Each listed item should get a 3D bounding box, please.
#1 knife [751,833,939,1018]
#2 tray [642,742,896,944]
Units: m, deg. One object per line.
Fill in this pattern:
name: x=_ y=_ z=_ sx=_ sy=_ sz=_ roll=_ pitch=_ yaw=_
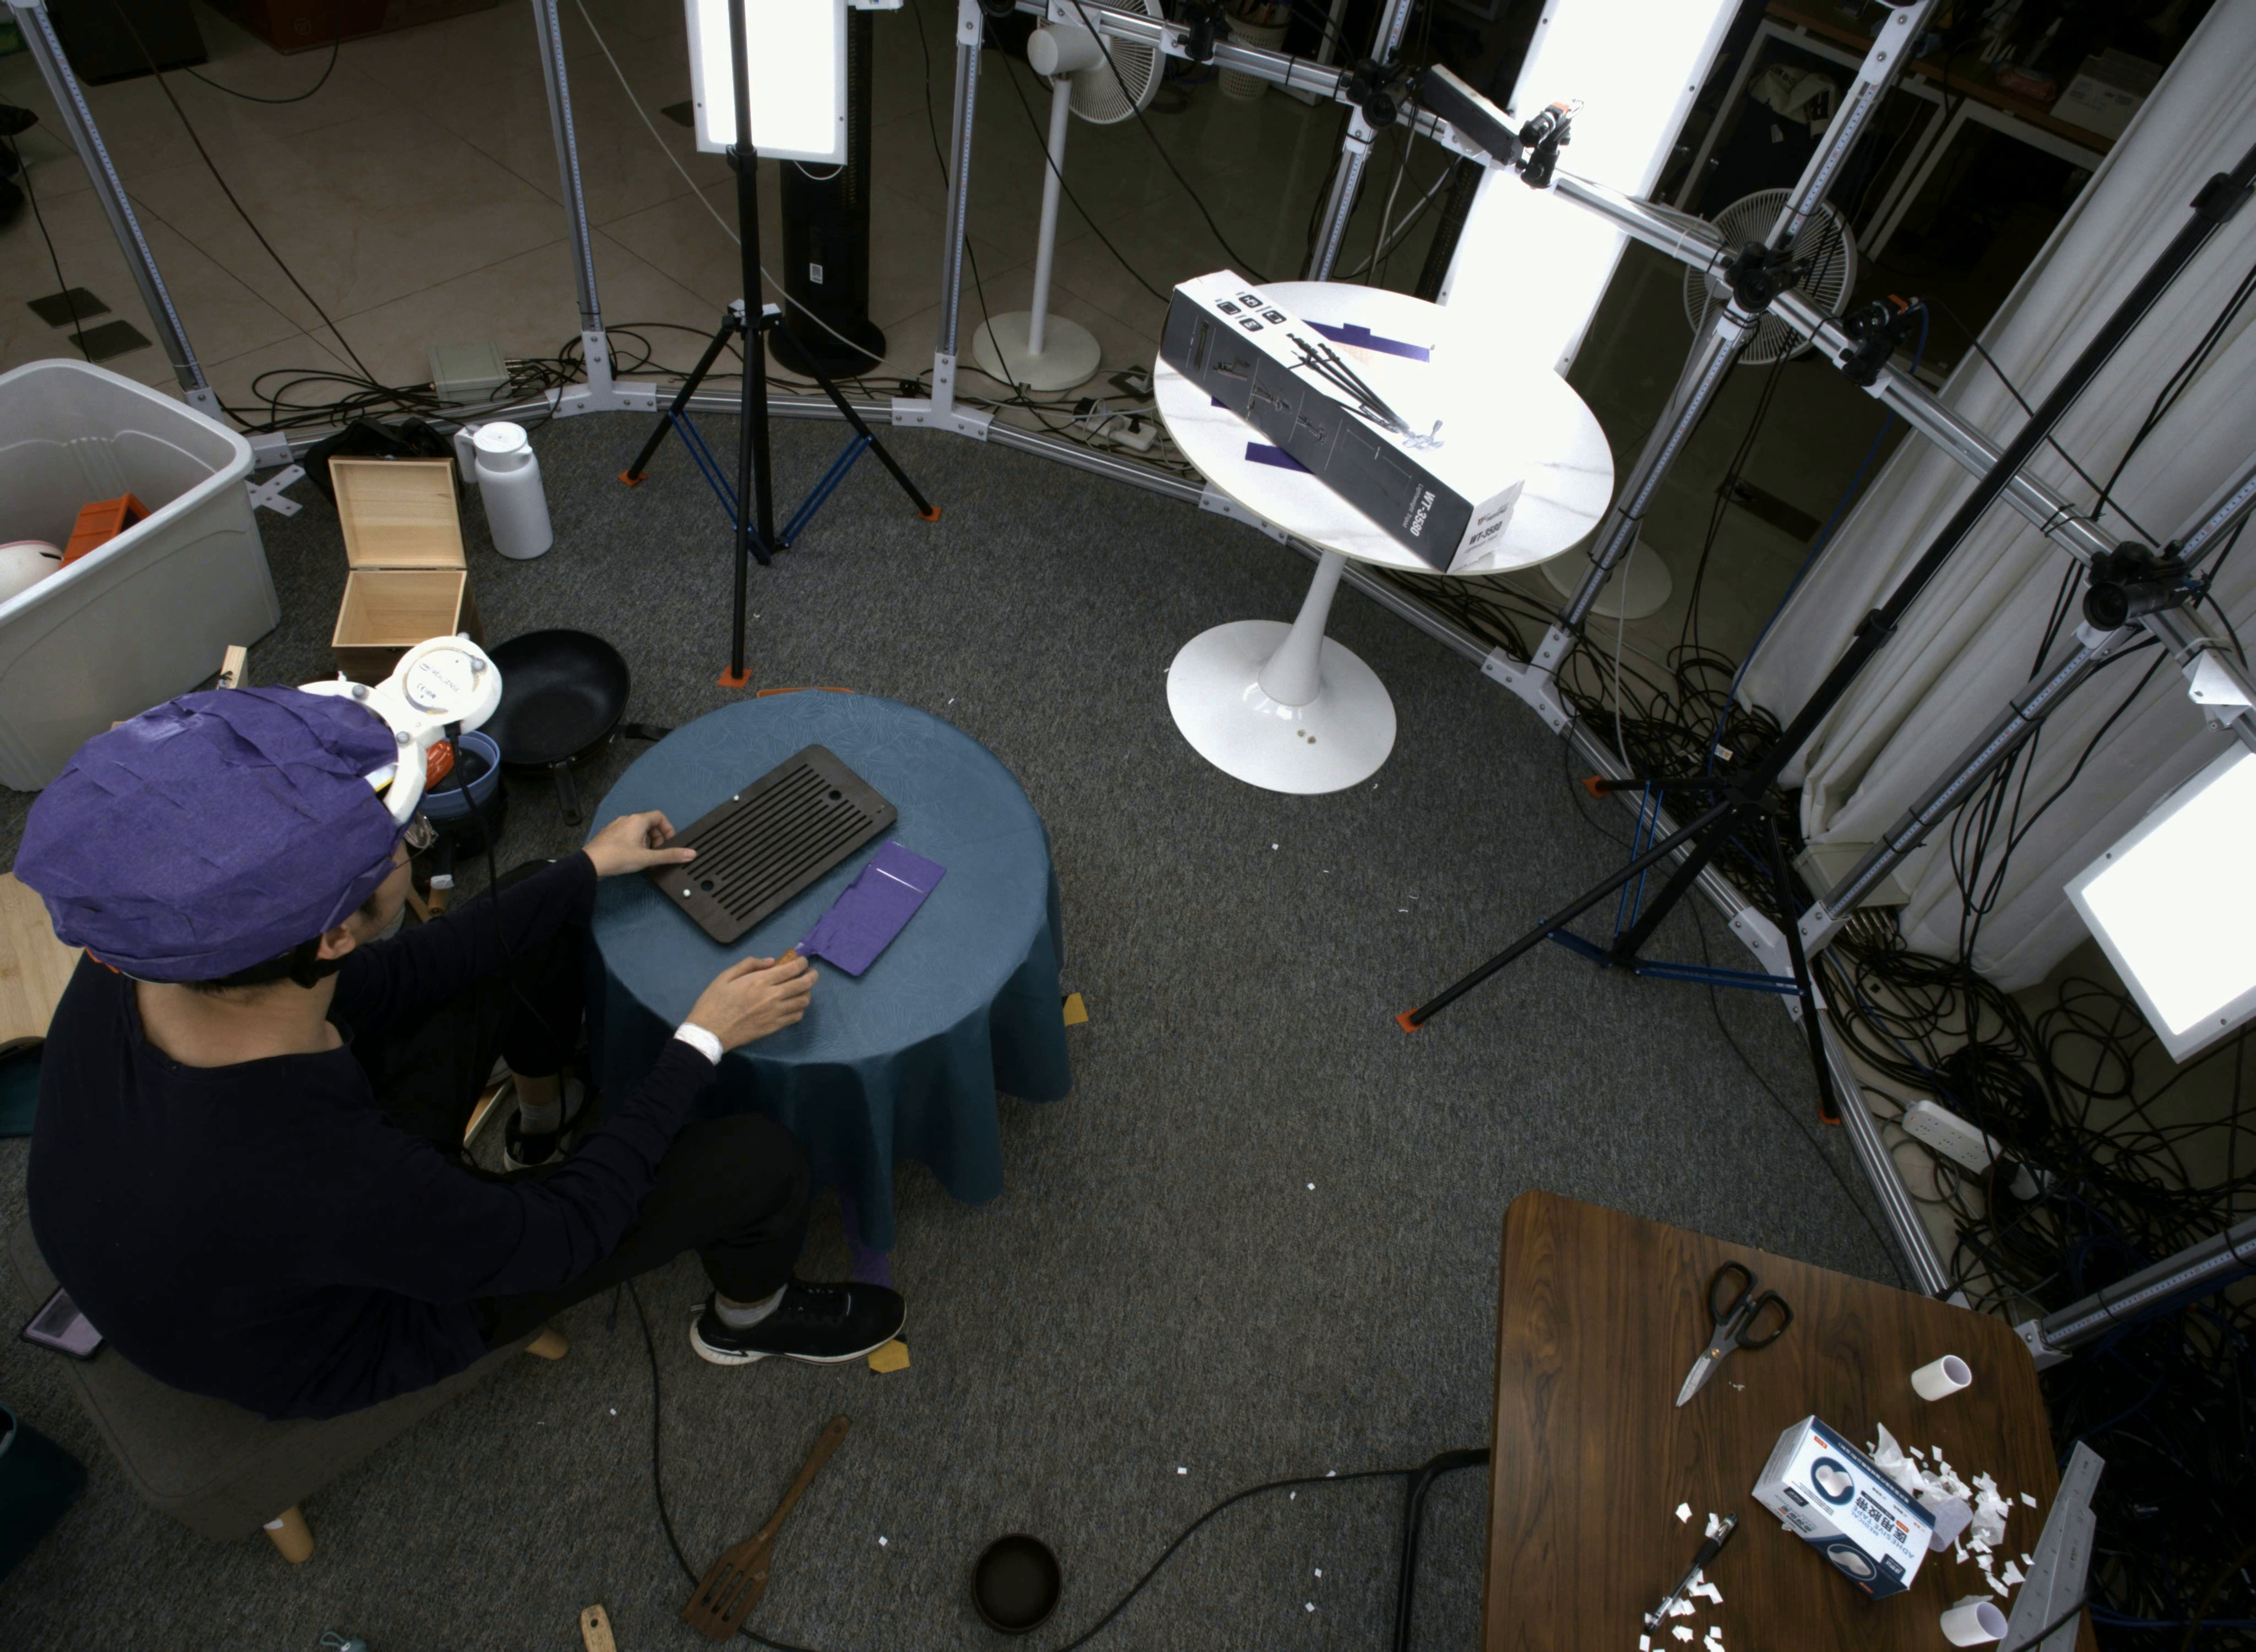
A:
knife: x=-0.348 y=0.129 z=1.642 sx=0.102 sy=0.033 sz=0.313 roll=27 pitch=52 yaw=7
tray: x=-0.467 y=0.016 z=1.698 sx=0.167 sy=0.019 sz=0.306 roll=39 pitch=55 yaw=14
